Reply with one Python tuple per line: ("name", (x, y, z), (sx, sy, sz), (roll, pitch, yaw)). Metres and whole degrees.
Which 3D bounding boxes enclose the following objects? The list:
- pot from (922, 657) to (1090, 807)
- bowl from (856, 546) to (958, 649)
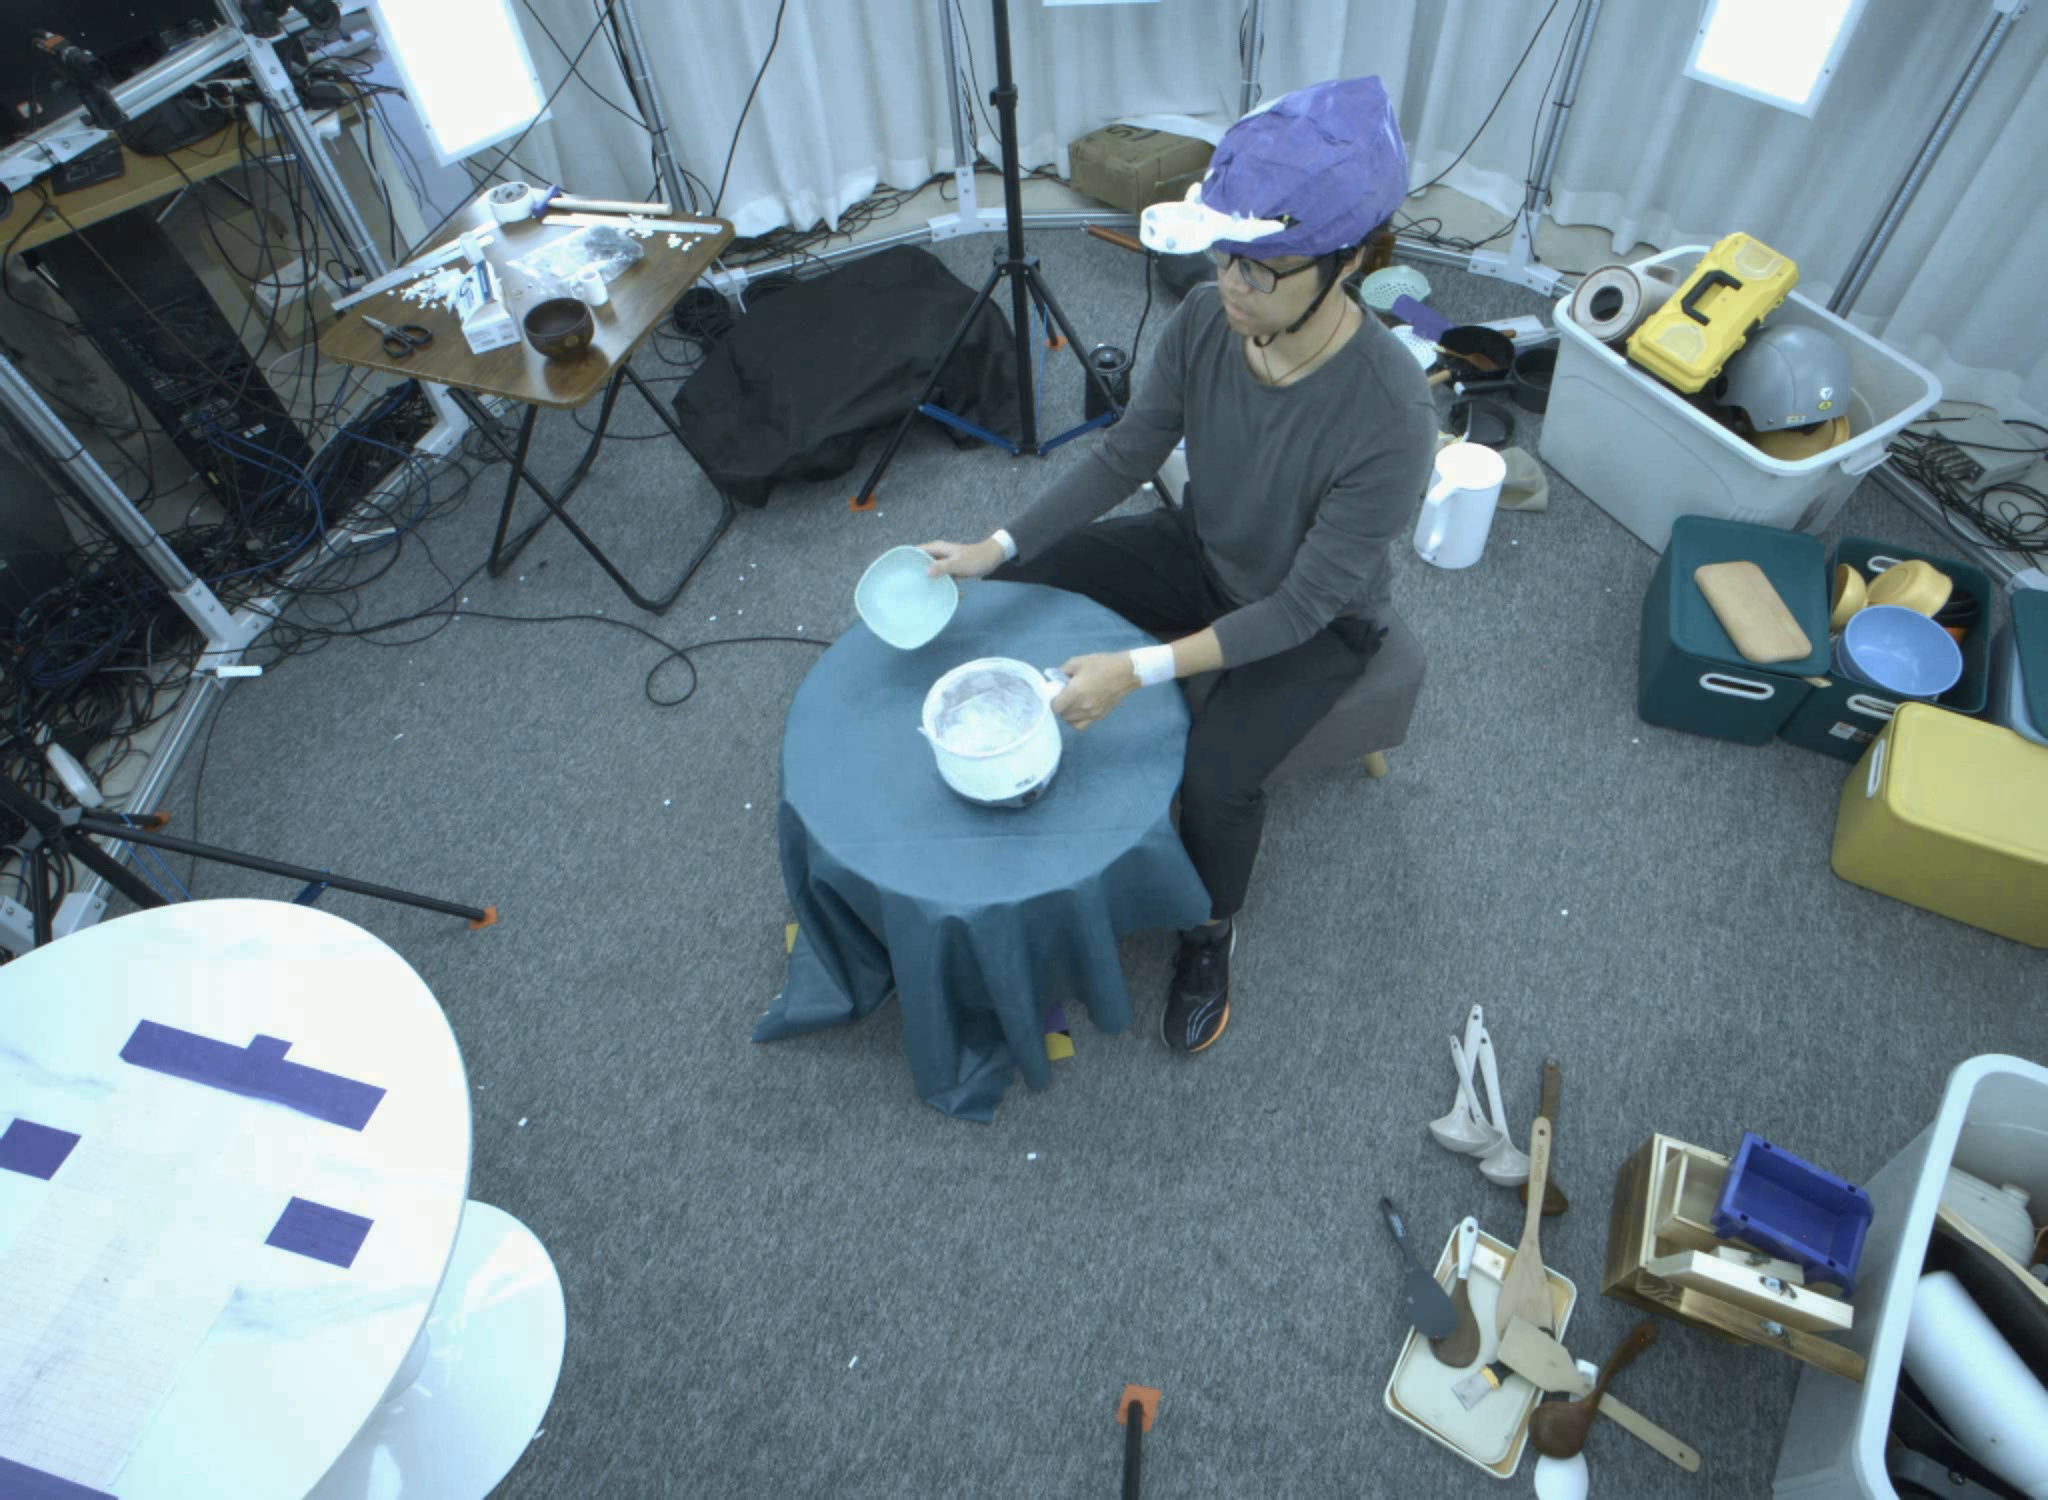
("pot", (-0.018, -0.035, 1.724), (0.235, 0.138, 0.175), (-29, 53, -13))
("bowl", (-0.173, -0.226, 1.822), (0.152, 0.058, 0.152), (0, 97, -2))
